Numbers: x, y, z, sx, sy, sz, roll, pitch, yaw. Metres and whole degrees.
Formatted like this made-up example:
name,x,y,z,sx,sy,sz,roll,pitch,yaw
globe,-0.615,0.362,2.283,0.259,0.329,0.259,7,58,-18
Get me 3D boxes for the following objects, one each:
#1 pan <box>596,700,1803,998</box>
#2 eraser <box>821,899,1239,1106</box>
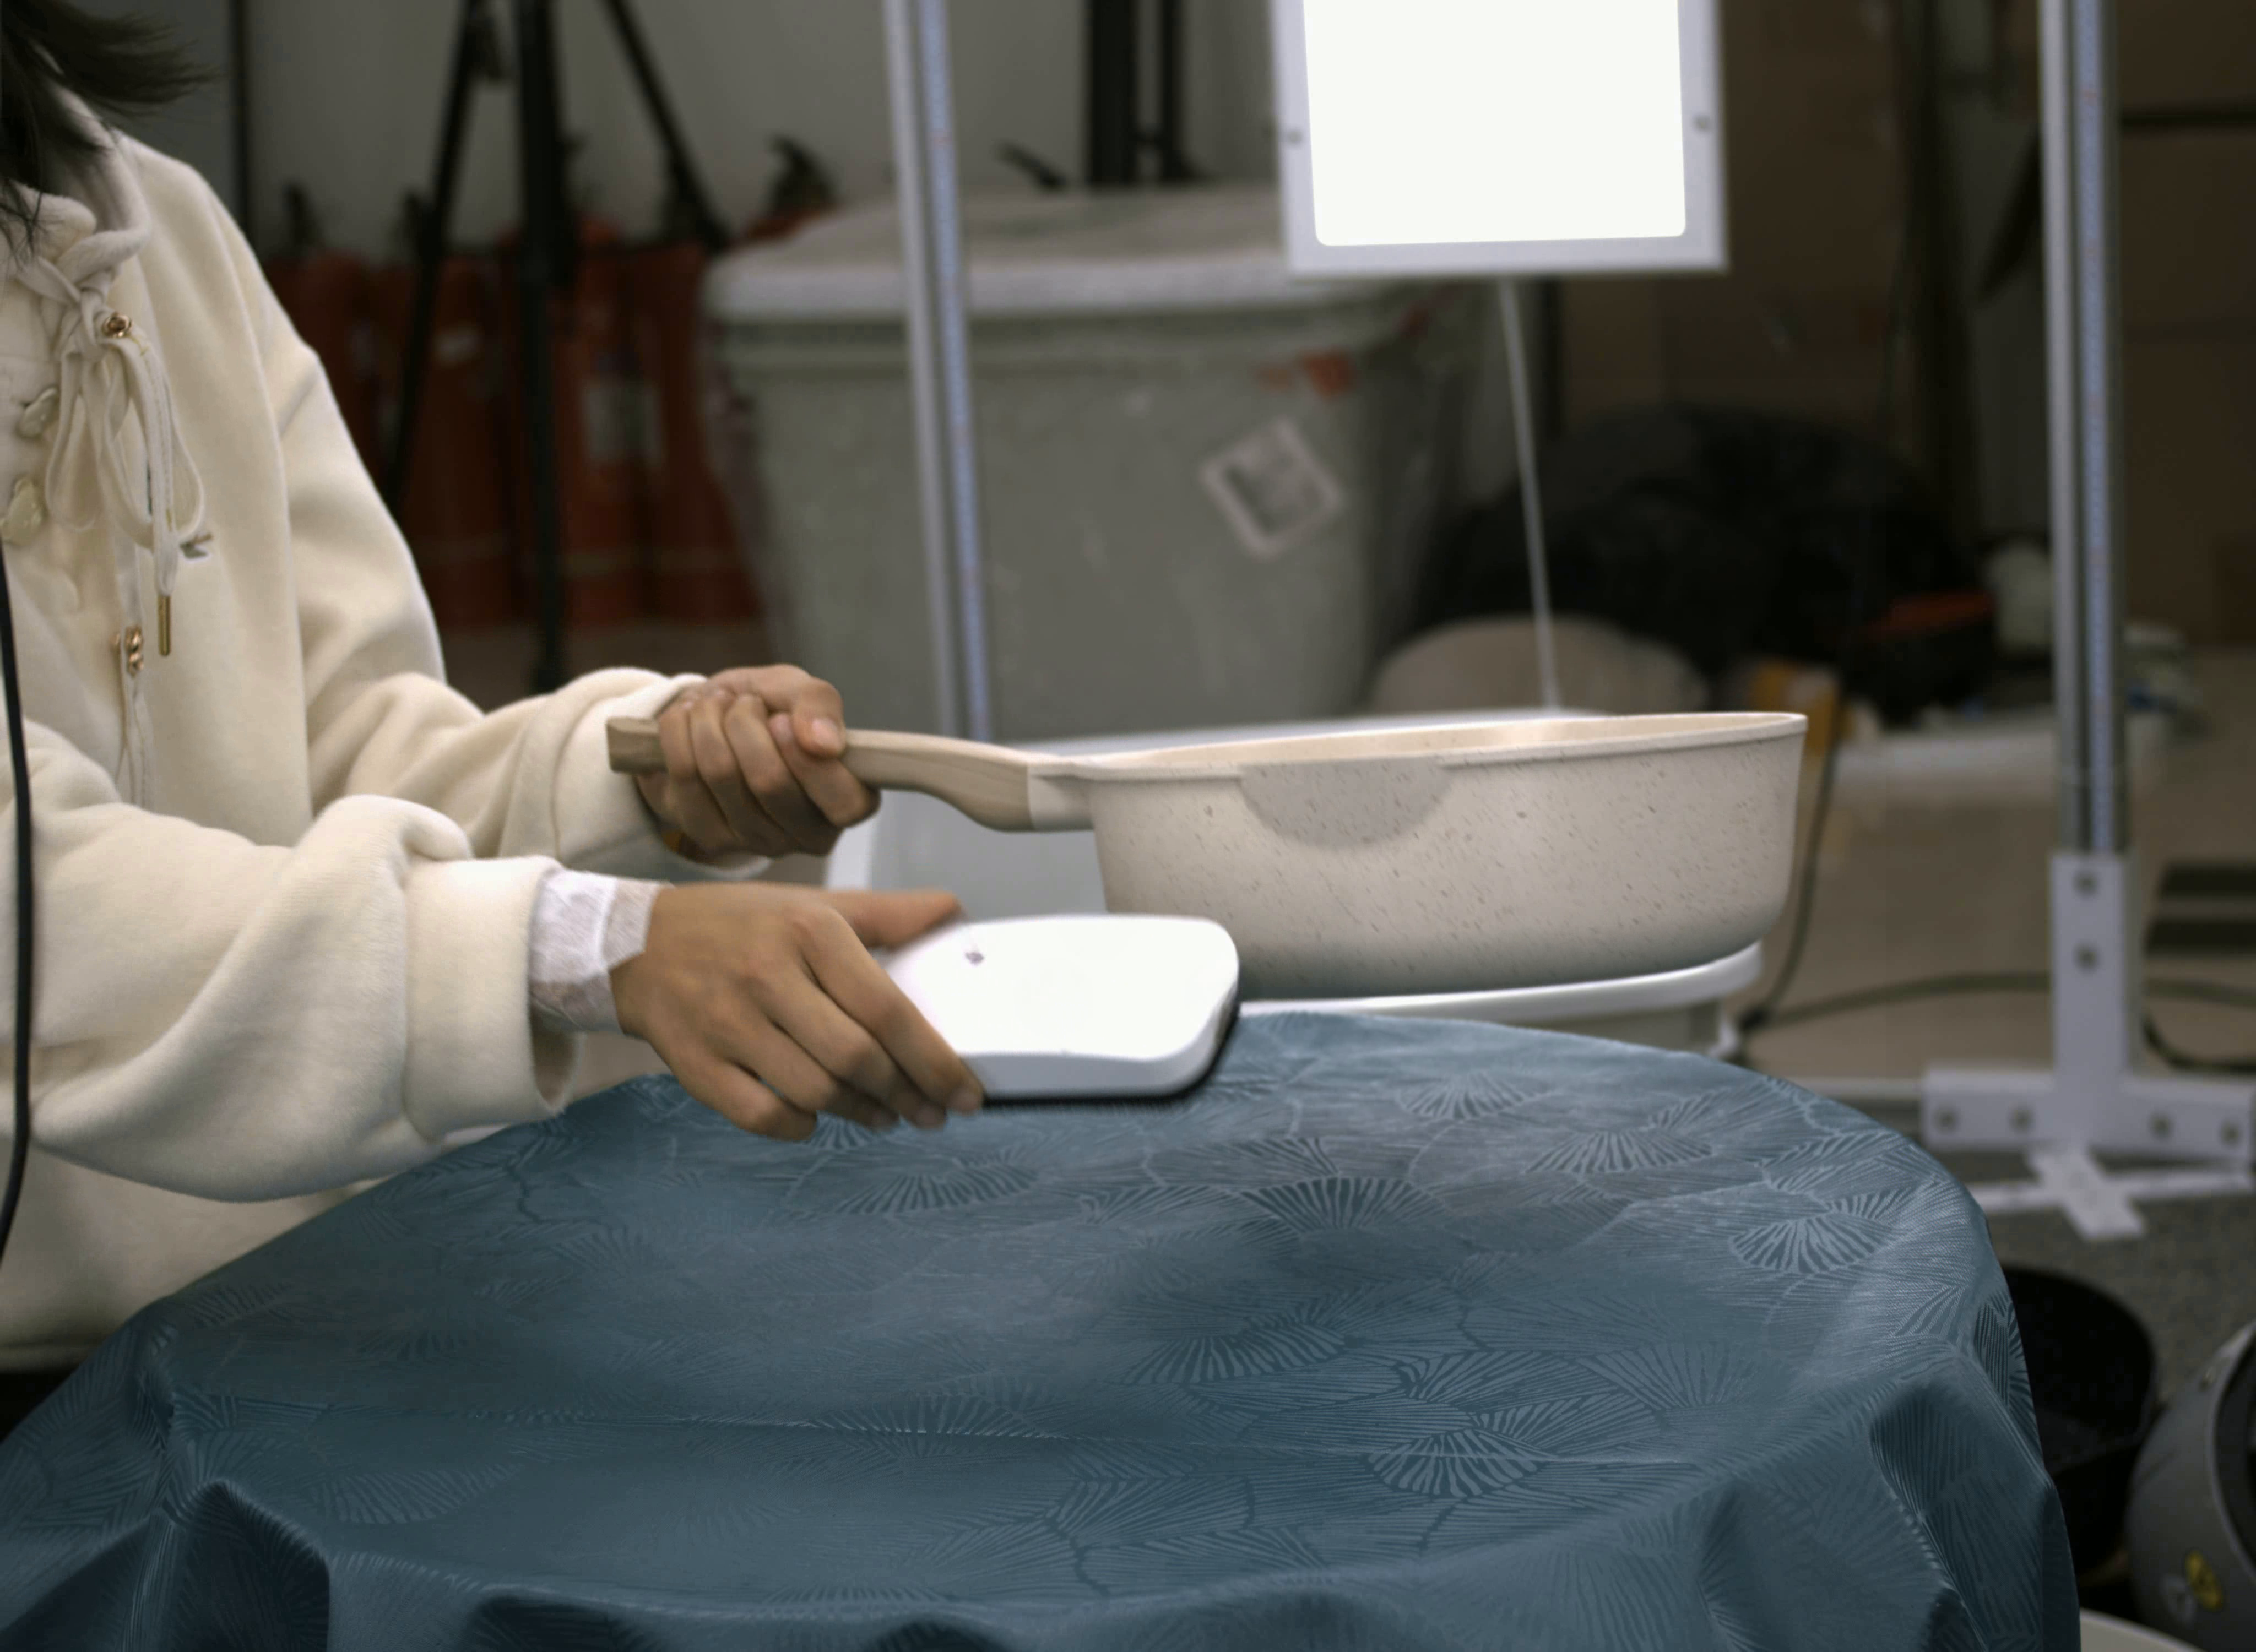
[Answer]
name,x,y,z,sx,sy,sz,roll,pitch,yaw
pan,0.020,0.004,1.913,0.440,0.102,0.259,-3,4,20
eraser,-0.030,0.055,1.706,0.134,0.034,0.062,-4,39,31
